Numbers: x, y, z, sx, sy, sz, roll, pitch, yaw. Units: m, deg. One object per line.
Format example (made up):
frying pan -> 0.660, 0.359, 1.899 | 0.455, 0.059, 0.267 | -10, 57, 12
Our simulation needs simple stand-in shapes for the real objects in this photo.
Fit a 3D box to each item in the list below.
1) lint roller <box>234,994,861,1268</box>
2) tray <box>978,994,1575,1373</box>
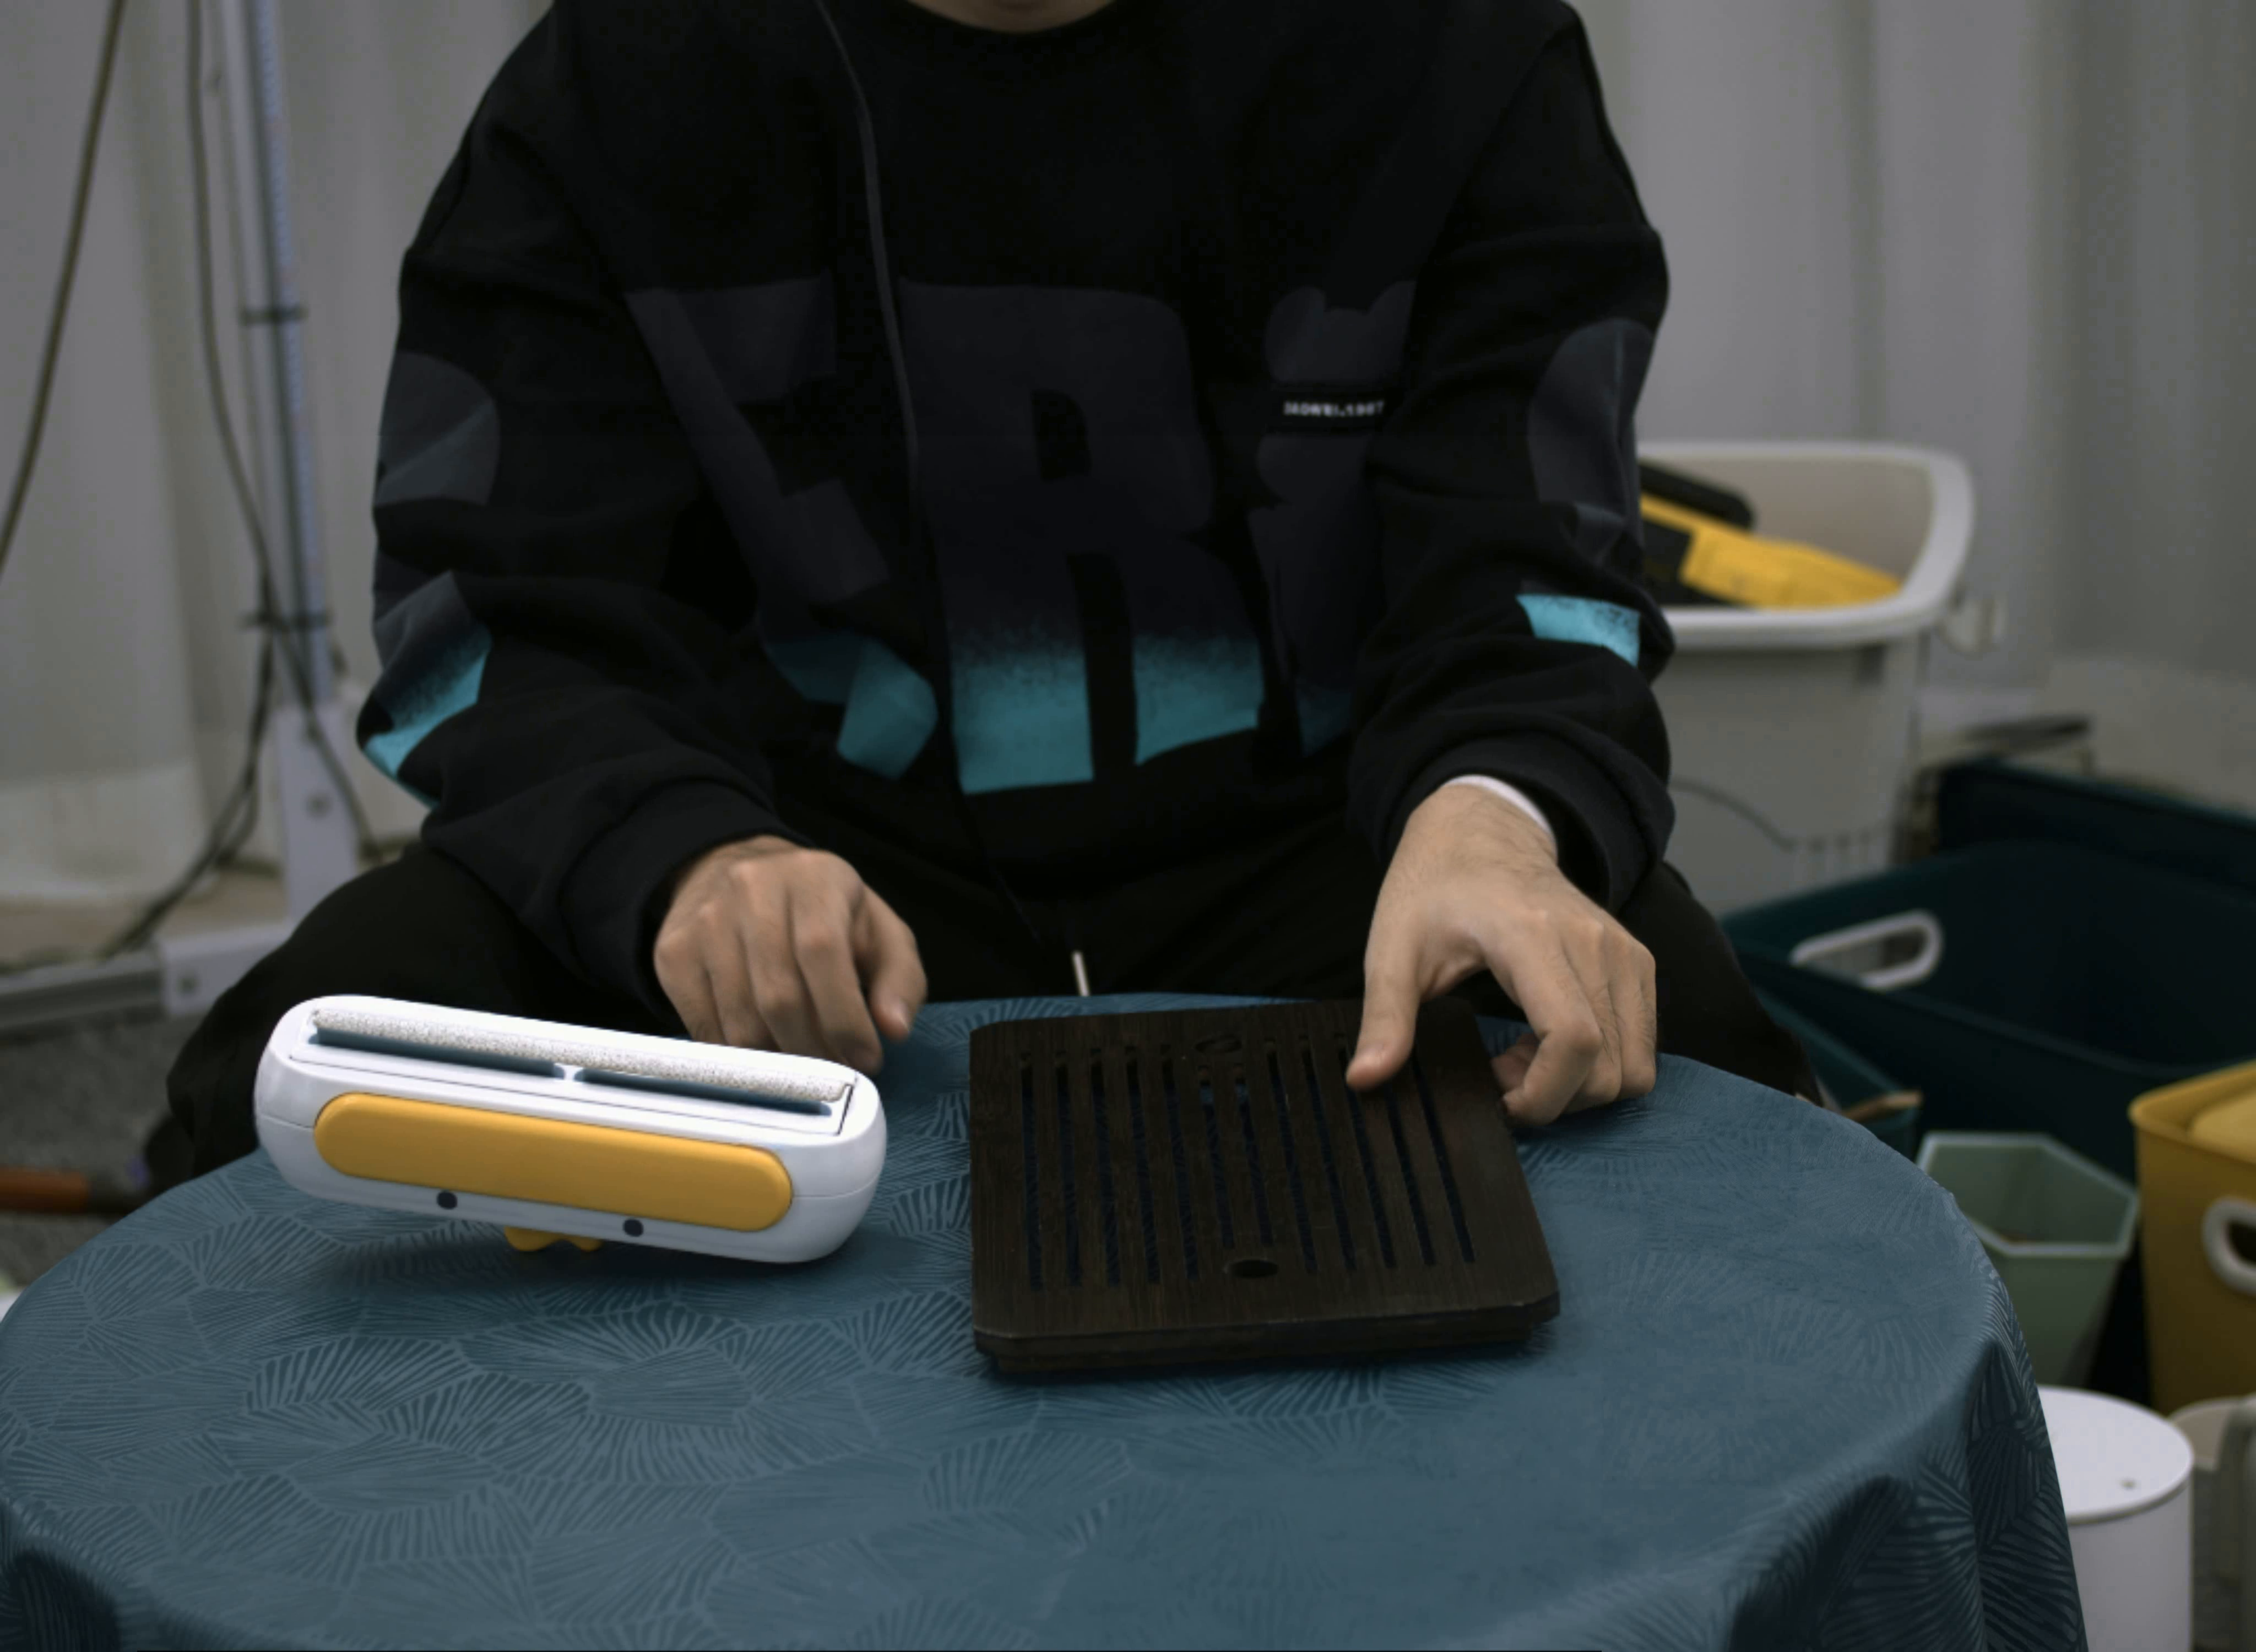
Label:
lint roller -> -0.170, 0.085, 1.730 | 0.192, 0.074, 0.193 | 4, 14, 7
tray -> 0.039, 0.108, 1.696 | 0.169, 0.018, 0.308 | -4, 15, -1
